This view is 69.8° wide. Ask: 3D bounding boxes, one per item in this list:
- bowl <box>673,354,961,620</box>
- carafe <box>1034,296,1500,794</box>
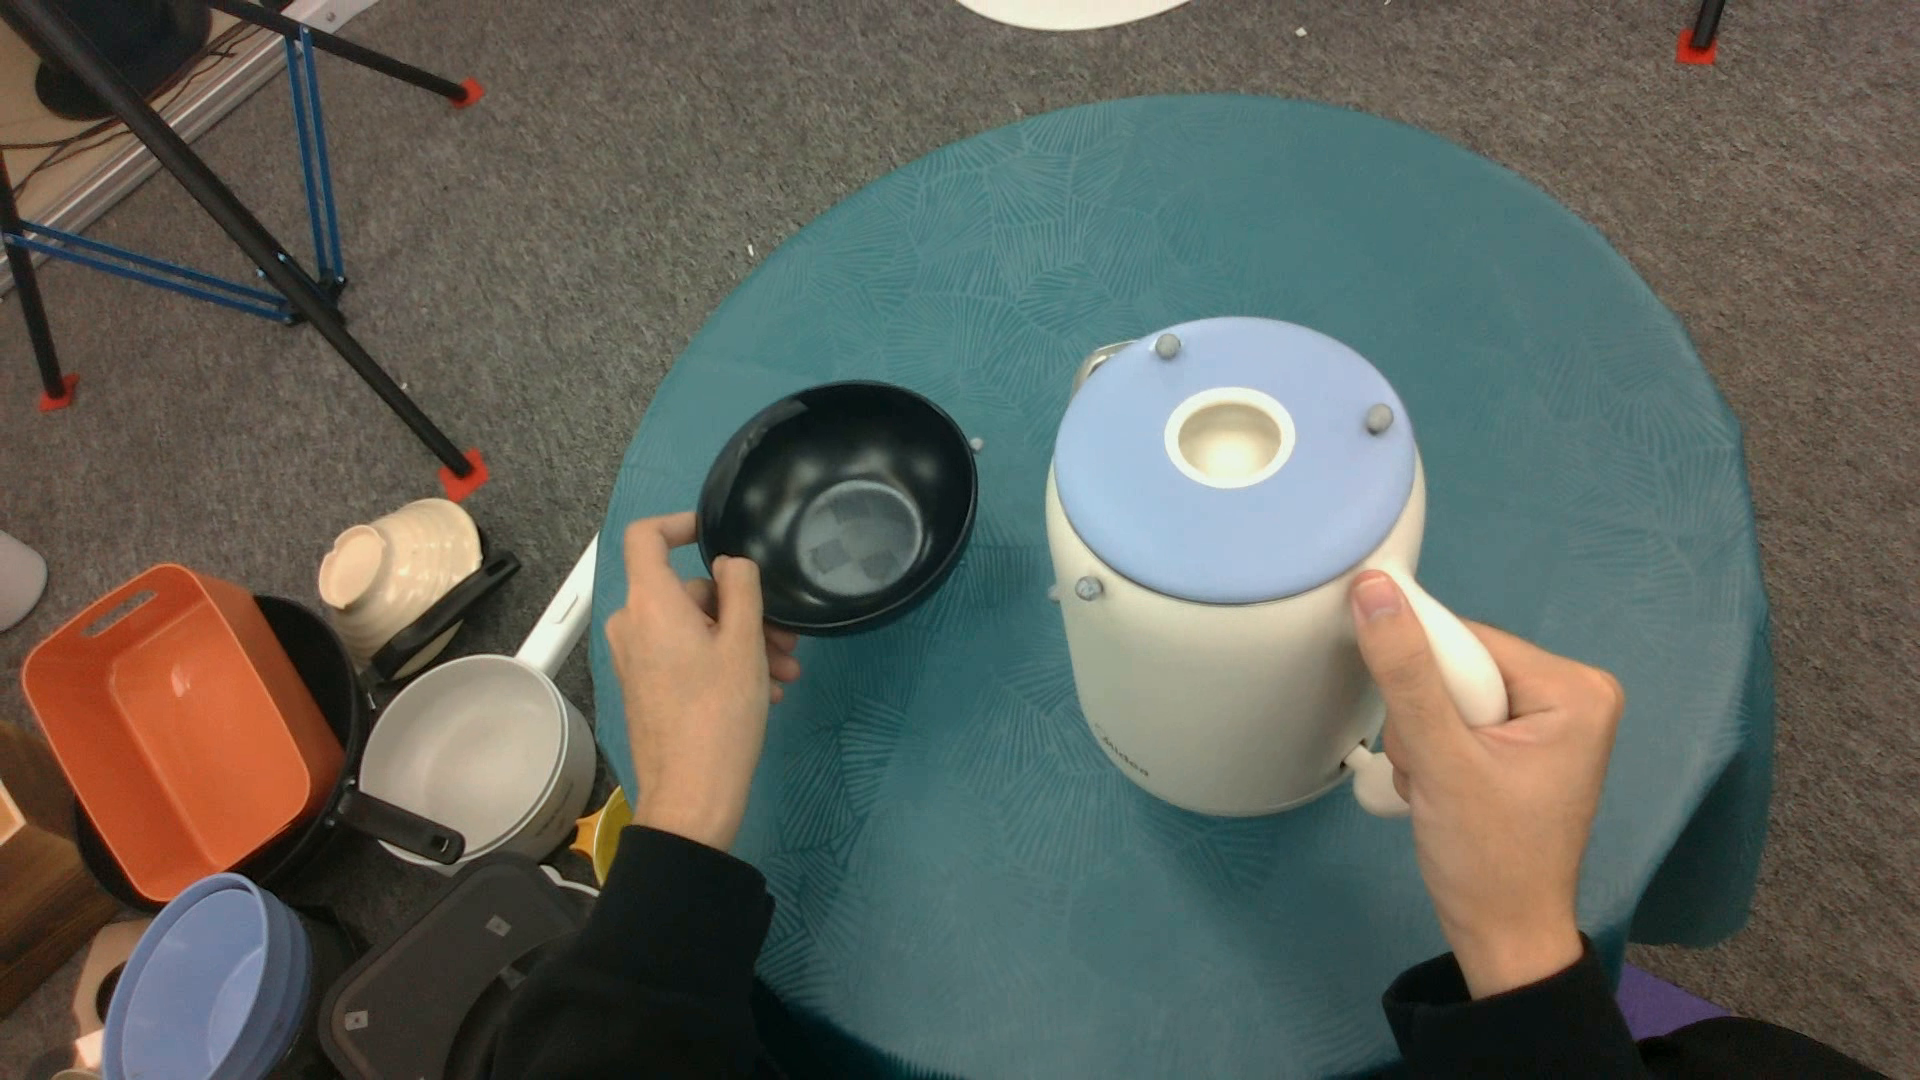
[{"bbox_3d":[-0.065,-0.019,0.667,0.140,0.049,0.140,-4,63,8],"label":"bowl"},{"bbox_3d":[0.115,0.021,0.519,0.132,0.182,0.191,-42,62,-16],"label":"carafe"}]
